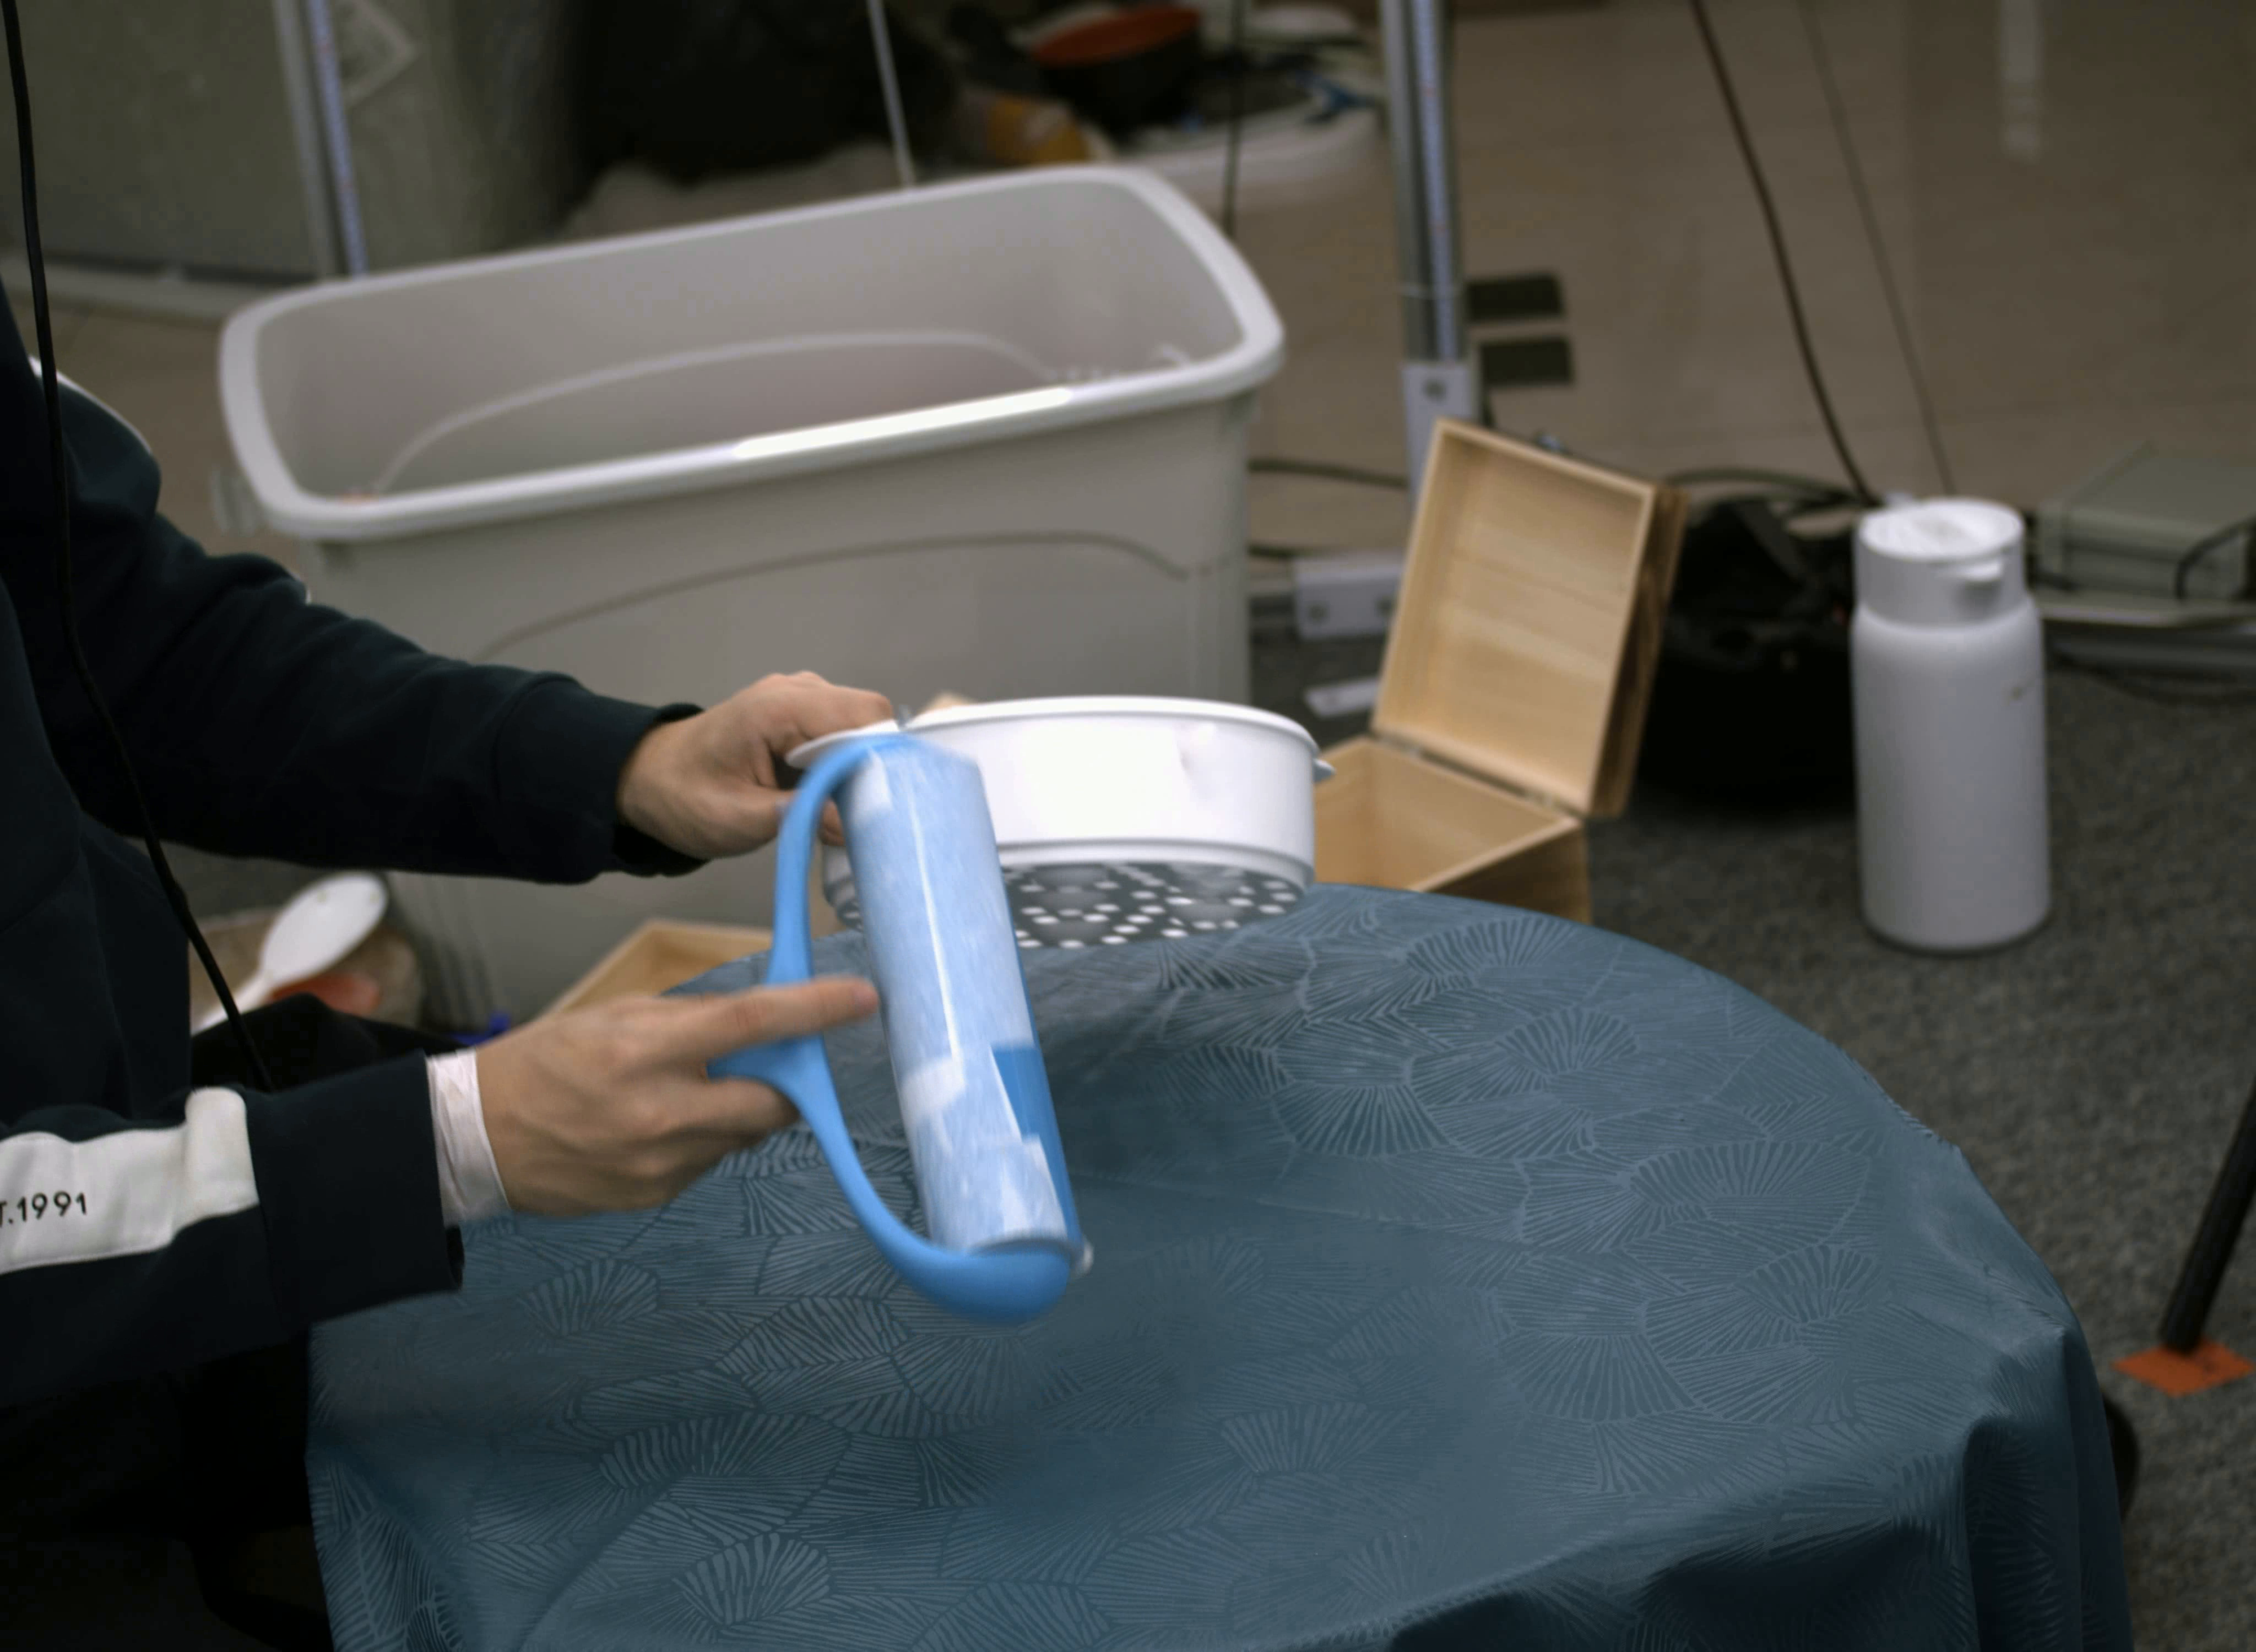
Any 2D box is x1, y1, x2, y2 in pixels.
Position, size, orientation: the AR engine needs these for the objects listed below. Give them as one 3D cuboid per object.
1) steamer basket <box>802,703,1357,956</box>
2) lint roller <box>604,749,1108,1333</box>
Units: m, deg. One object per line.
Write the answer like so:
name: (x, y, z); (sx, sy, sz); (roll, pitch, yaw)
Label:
steamer basket: (-0.016, 0.006, 2.218); (0.230, 0.069, 0.203); (3, -12, -29)
lint roller: (-0.110, 0.093, 2.015); (0.180, 0.069, 0.226); (-20, 66, 6)
